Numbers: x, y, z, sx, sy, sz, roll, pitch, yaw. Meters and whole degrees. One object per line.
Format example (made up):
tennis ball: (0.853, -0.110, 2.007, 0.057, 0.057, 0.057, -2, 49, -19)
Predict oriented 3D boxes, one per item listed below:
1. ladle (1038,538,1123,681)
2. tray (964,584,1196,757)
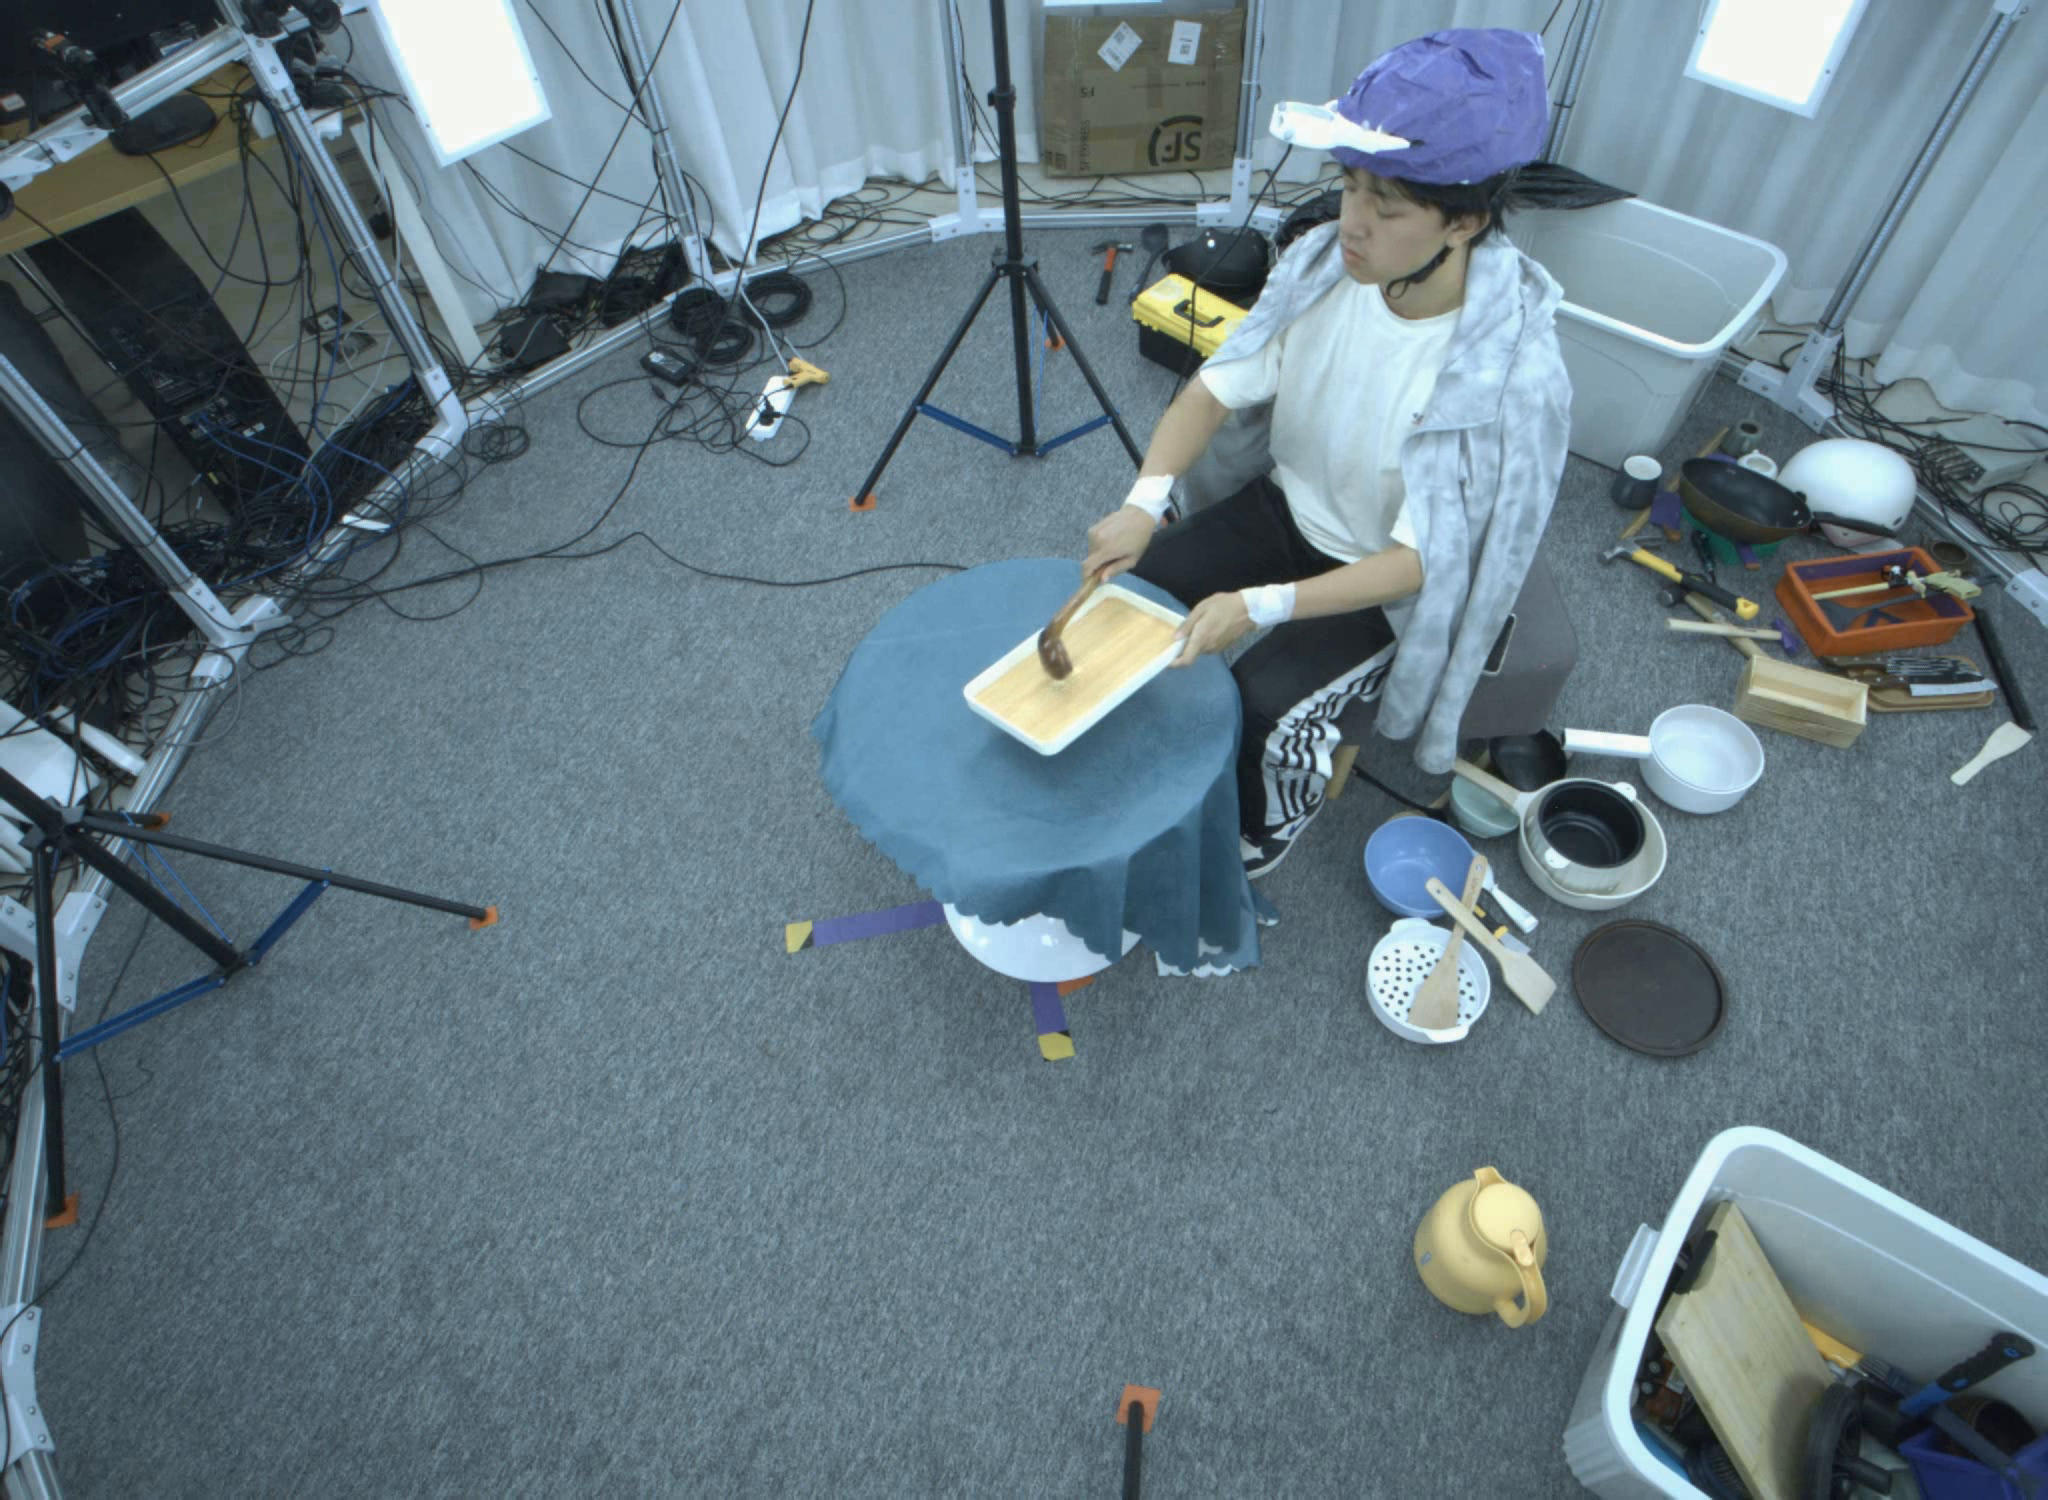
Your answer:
ladle: (0.099, -0.207, 1.747, 0.075, 0.083, 0.275, 24, 57, 21)
tray: (0.080, -0.119, 1.743, 0.302, 0.028, 0.187, -38, 48, -21)
